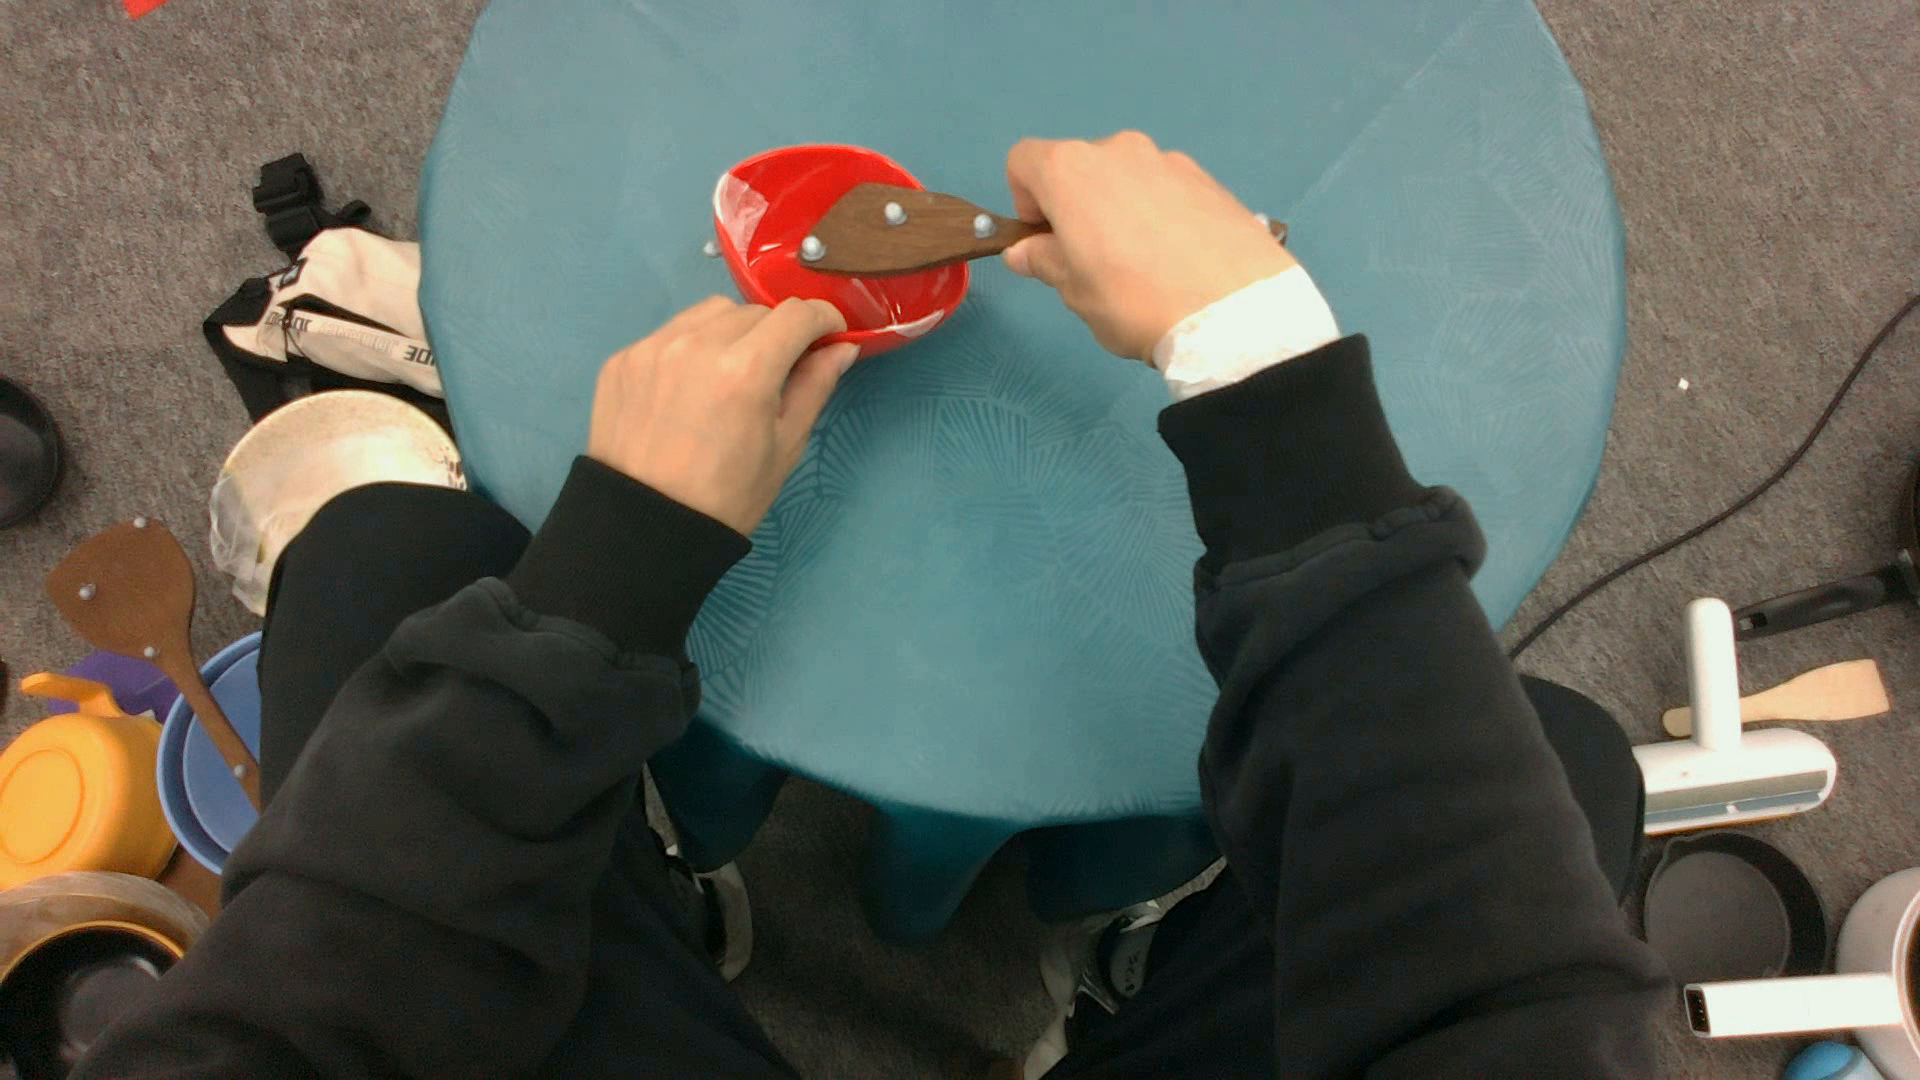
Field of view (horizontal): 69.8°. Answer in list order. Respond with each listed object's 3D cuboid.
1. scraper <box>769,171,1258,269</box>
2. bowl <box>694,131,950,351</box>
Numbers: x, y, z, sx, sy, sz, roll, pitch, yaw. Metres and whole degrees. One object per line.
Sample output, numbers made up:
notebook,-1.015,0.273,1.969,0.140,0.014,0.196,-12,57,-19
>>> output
scraper,0.020,-0.133,0.583,0.211,0.011,0.076,8,44,24
bowl,-0.068,-0.130,0.633,0.119,0.051,0.119,12,54,-16
